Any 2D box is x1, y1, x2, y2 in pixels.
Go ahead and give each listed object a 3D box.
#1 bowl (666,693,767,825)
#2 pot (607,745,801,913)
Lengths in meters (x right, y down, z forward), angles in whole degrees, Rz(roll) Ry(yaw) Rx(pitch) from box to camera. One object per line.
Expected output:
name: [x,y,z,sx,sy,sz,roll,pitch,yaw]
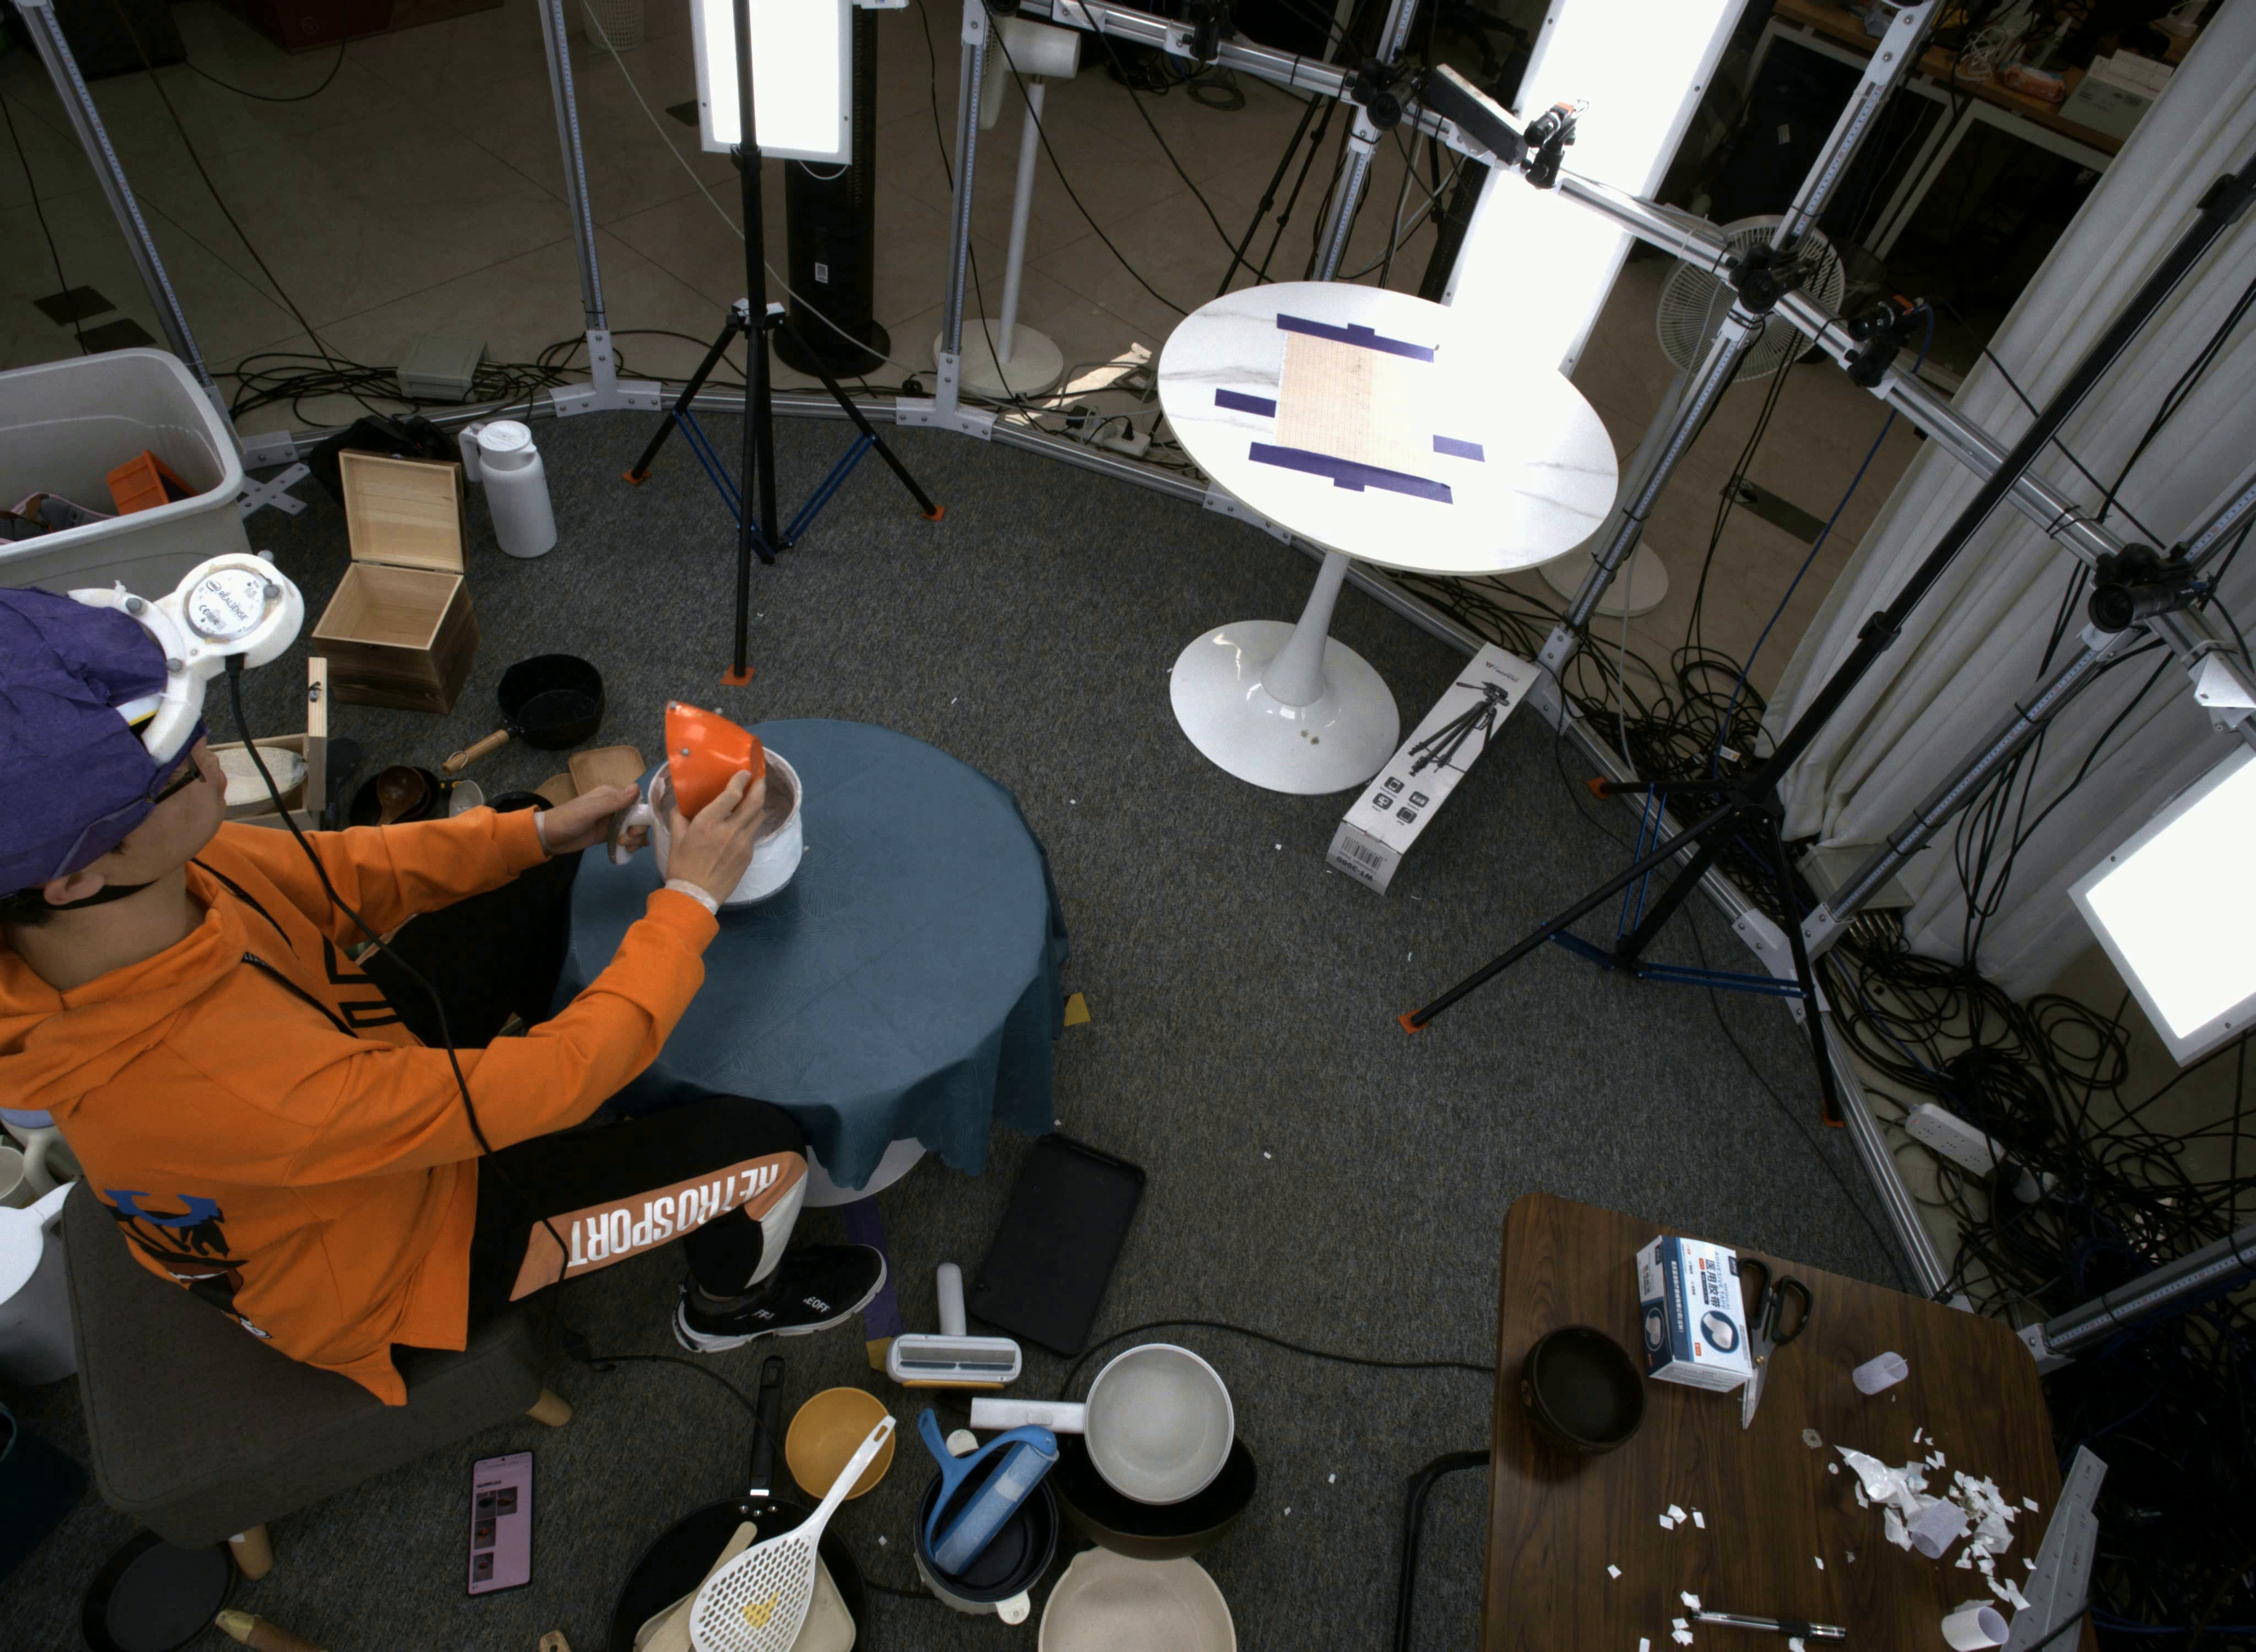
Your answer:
bowl: [-0.468,-0.080,1.466,0.104,0.152,0.145,-4,53,-2]
pot: [-0.510,0.003,1.545,0.234,0.140,0.174,-2,49,-17]
